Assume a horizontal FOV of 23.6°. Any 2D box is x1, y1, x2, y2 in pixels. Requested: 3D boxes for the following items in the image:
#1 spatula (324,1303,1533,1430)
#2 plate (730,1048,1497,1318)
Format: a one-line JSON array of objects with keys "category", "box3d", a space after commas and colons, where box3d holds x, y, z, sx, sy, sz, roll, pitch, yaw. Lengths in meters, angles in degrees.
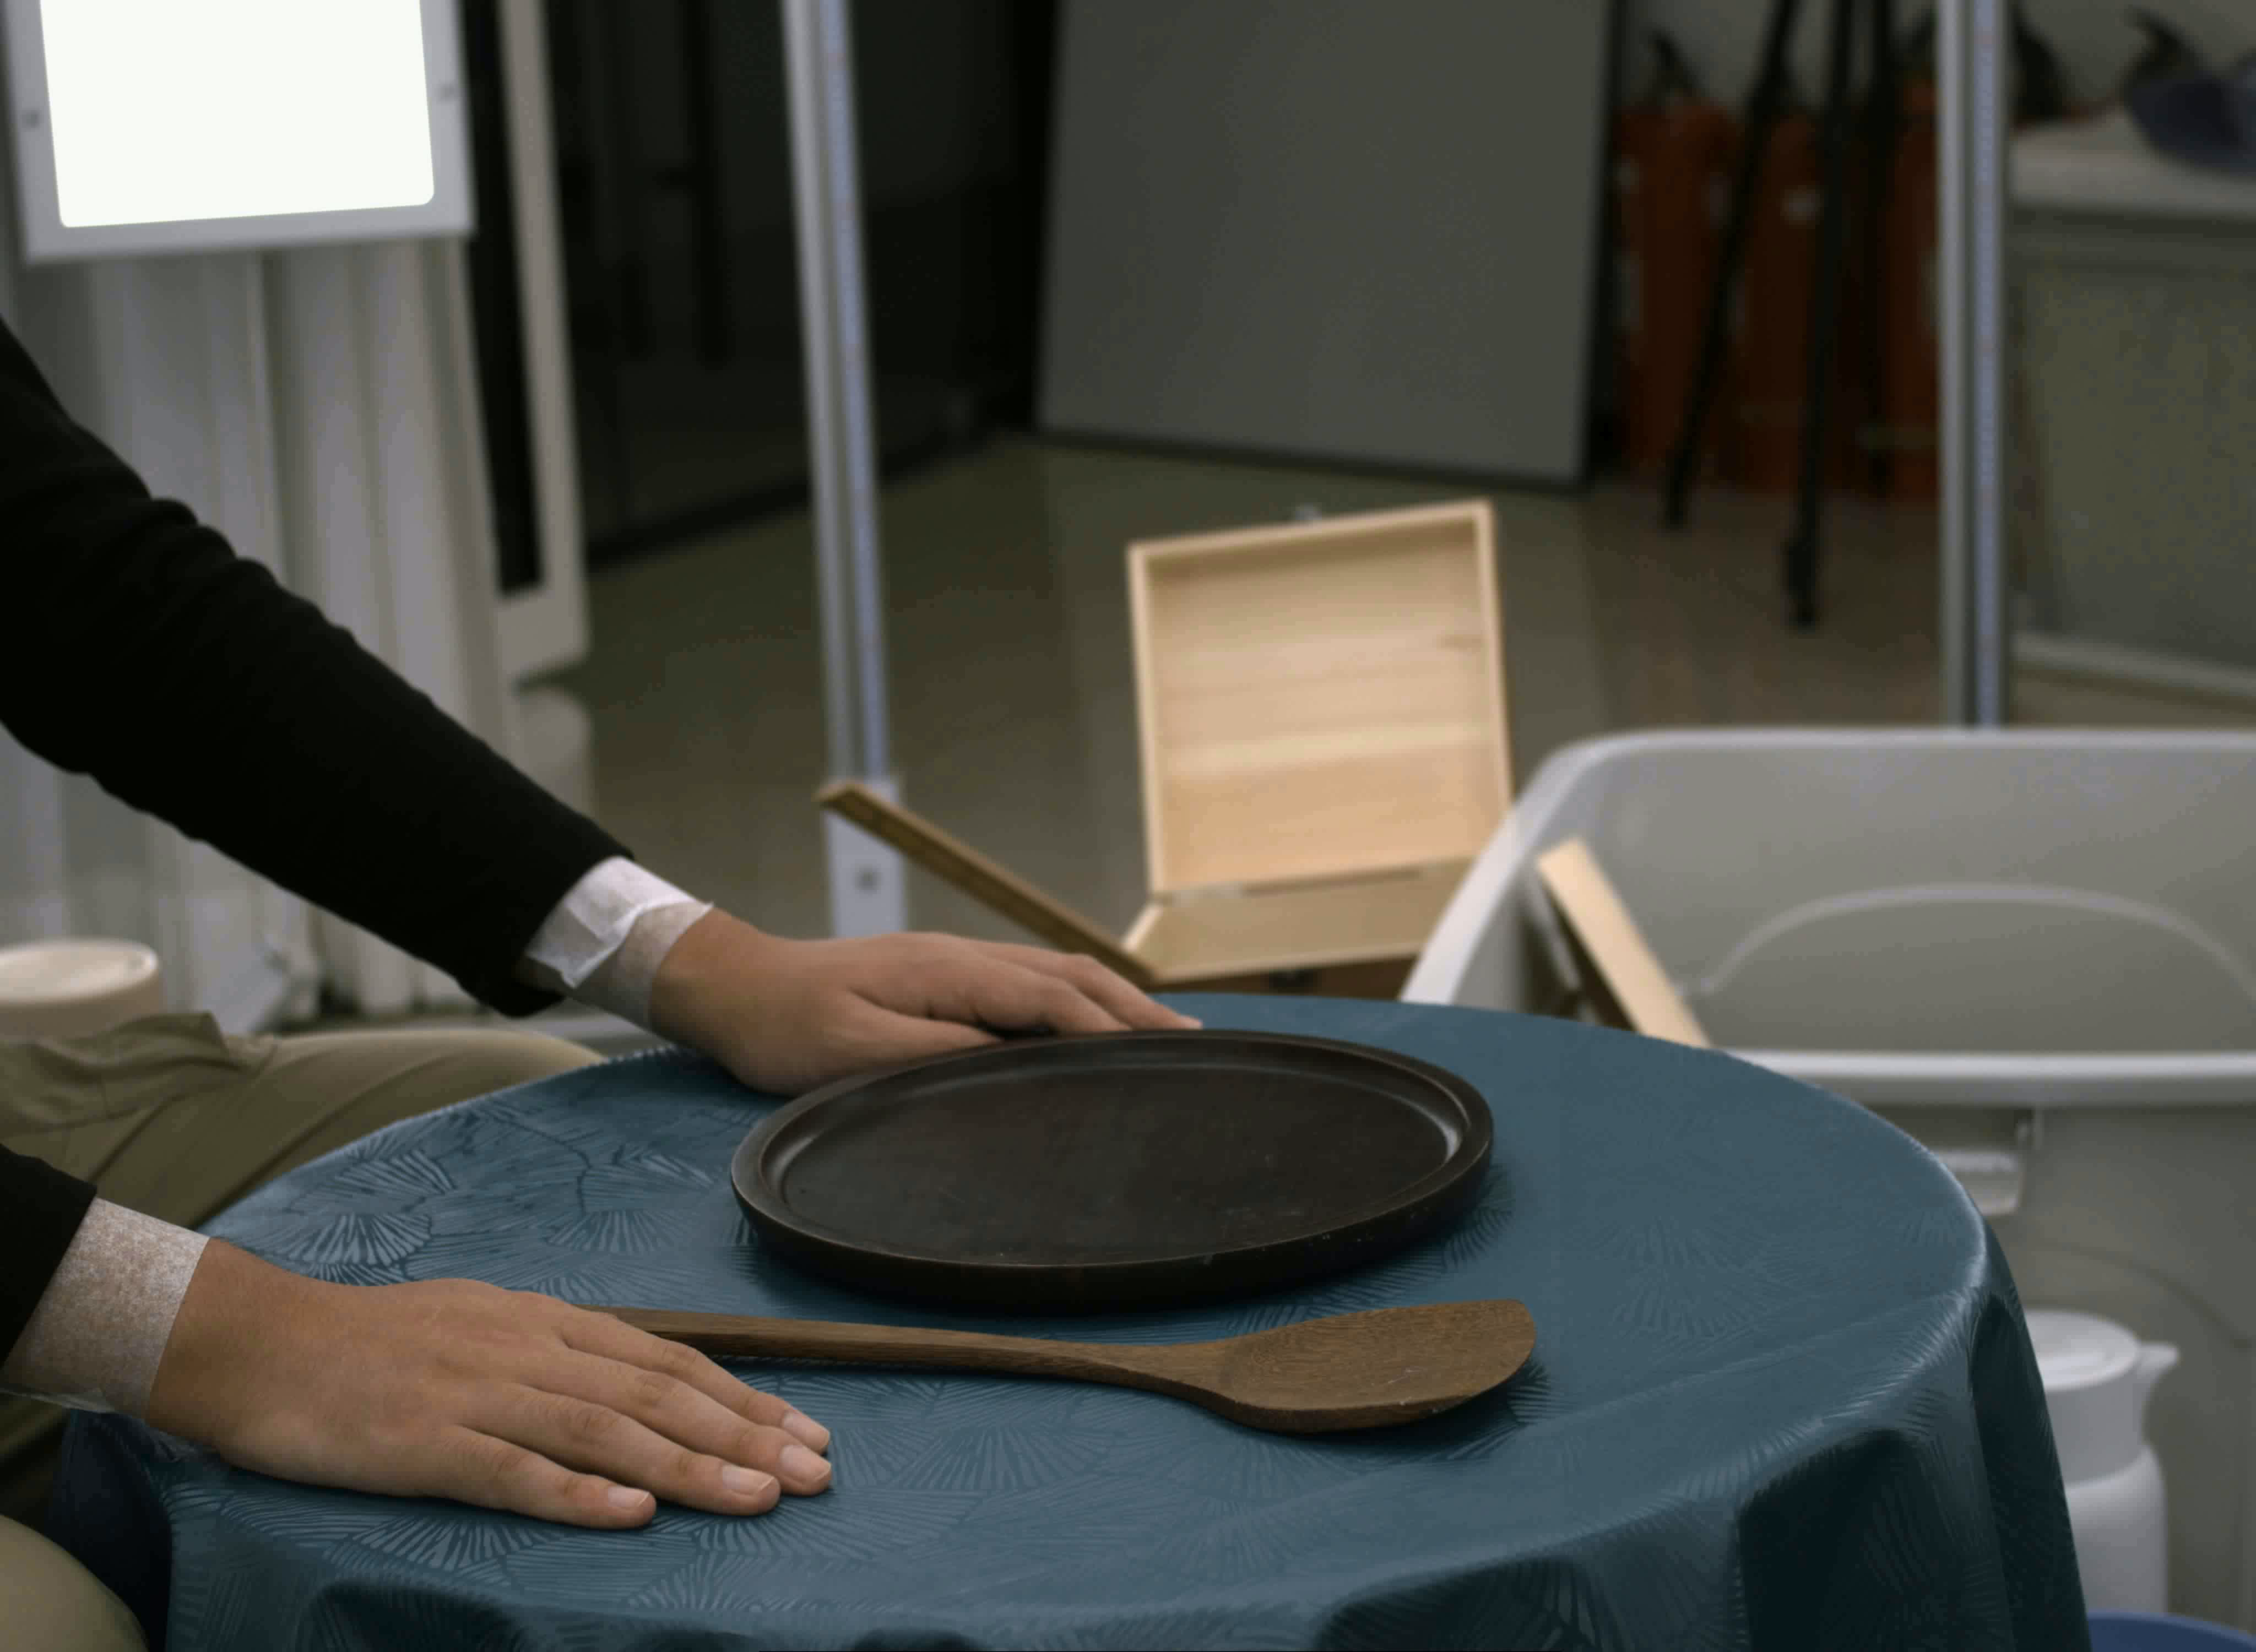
[{"category": "spatula", "box3d": [-0.067, 0.157, 1.615, 0.385, 0.016, 0.095, 0, 14, 19]}, {"category": "plate", "box3d": [-0.004, 0.113, 1.758, 0.251, 0.029, 0.255, -3, 14, 0]}]
